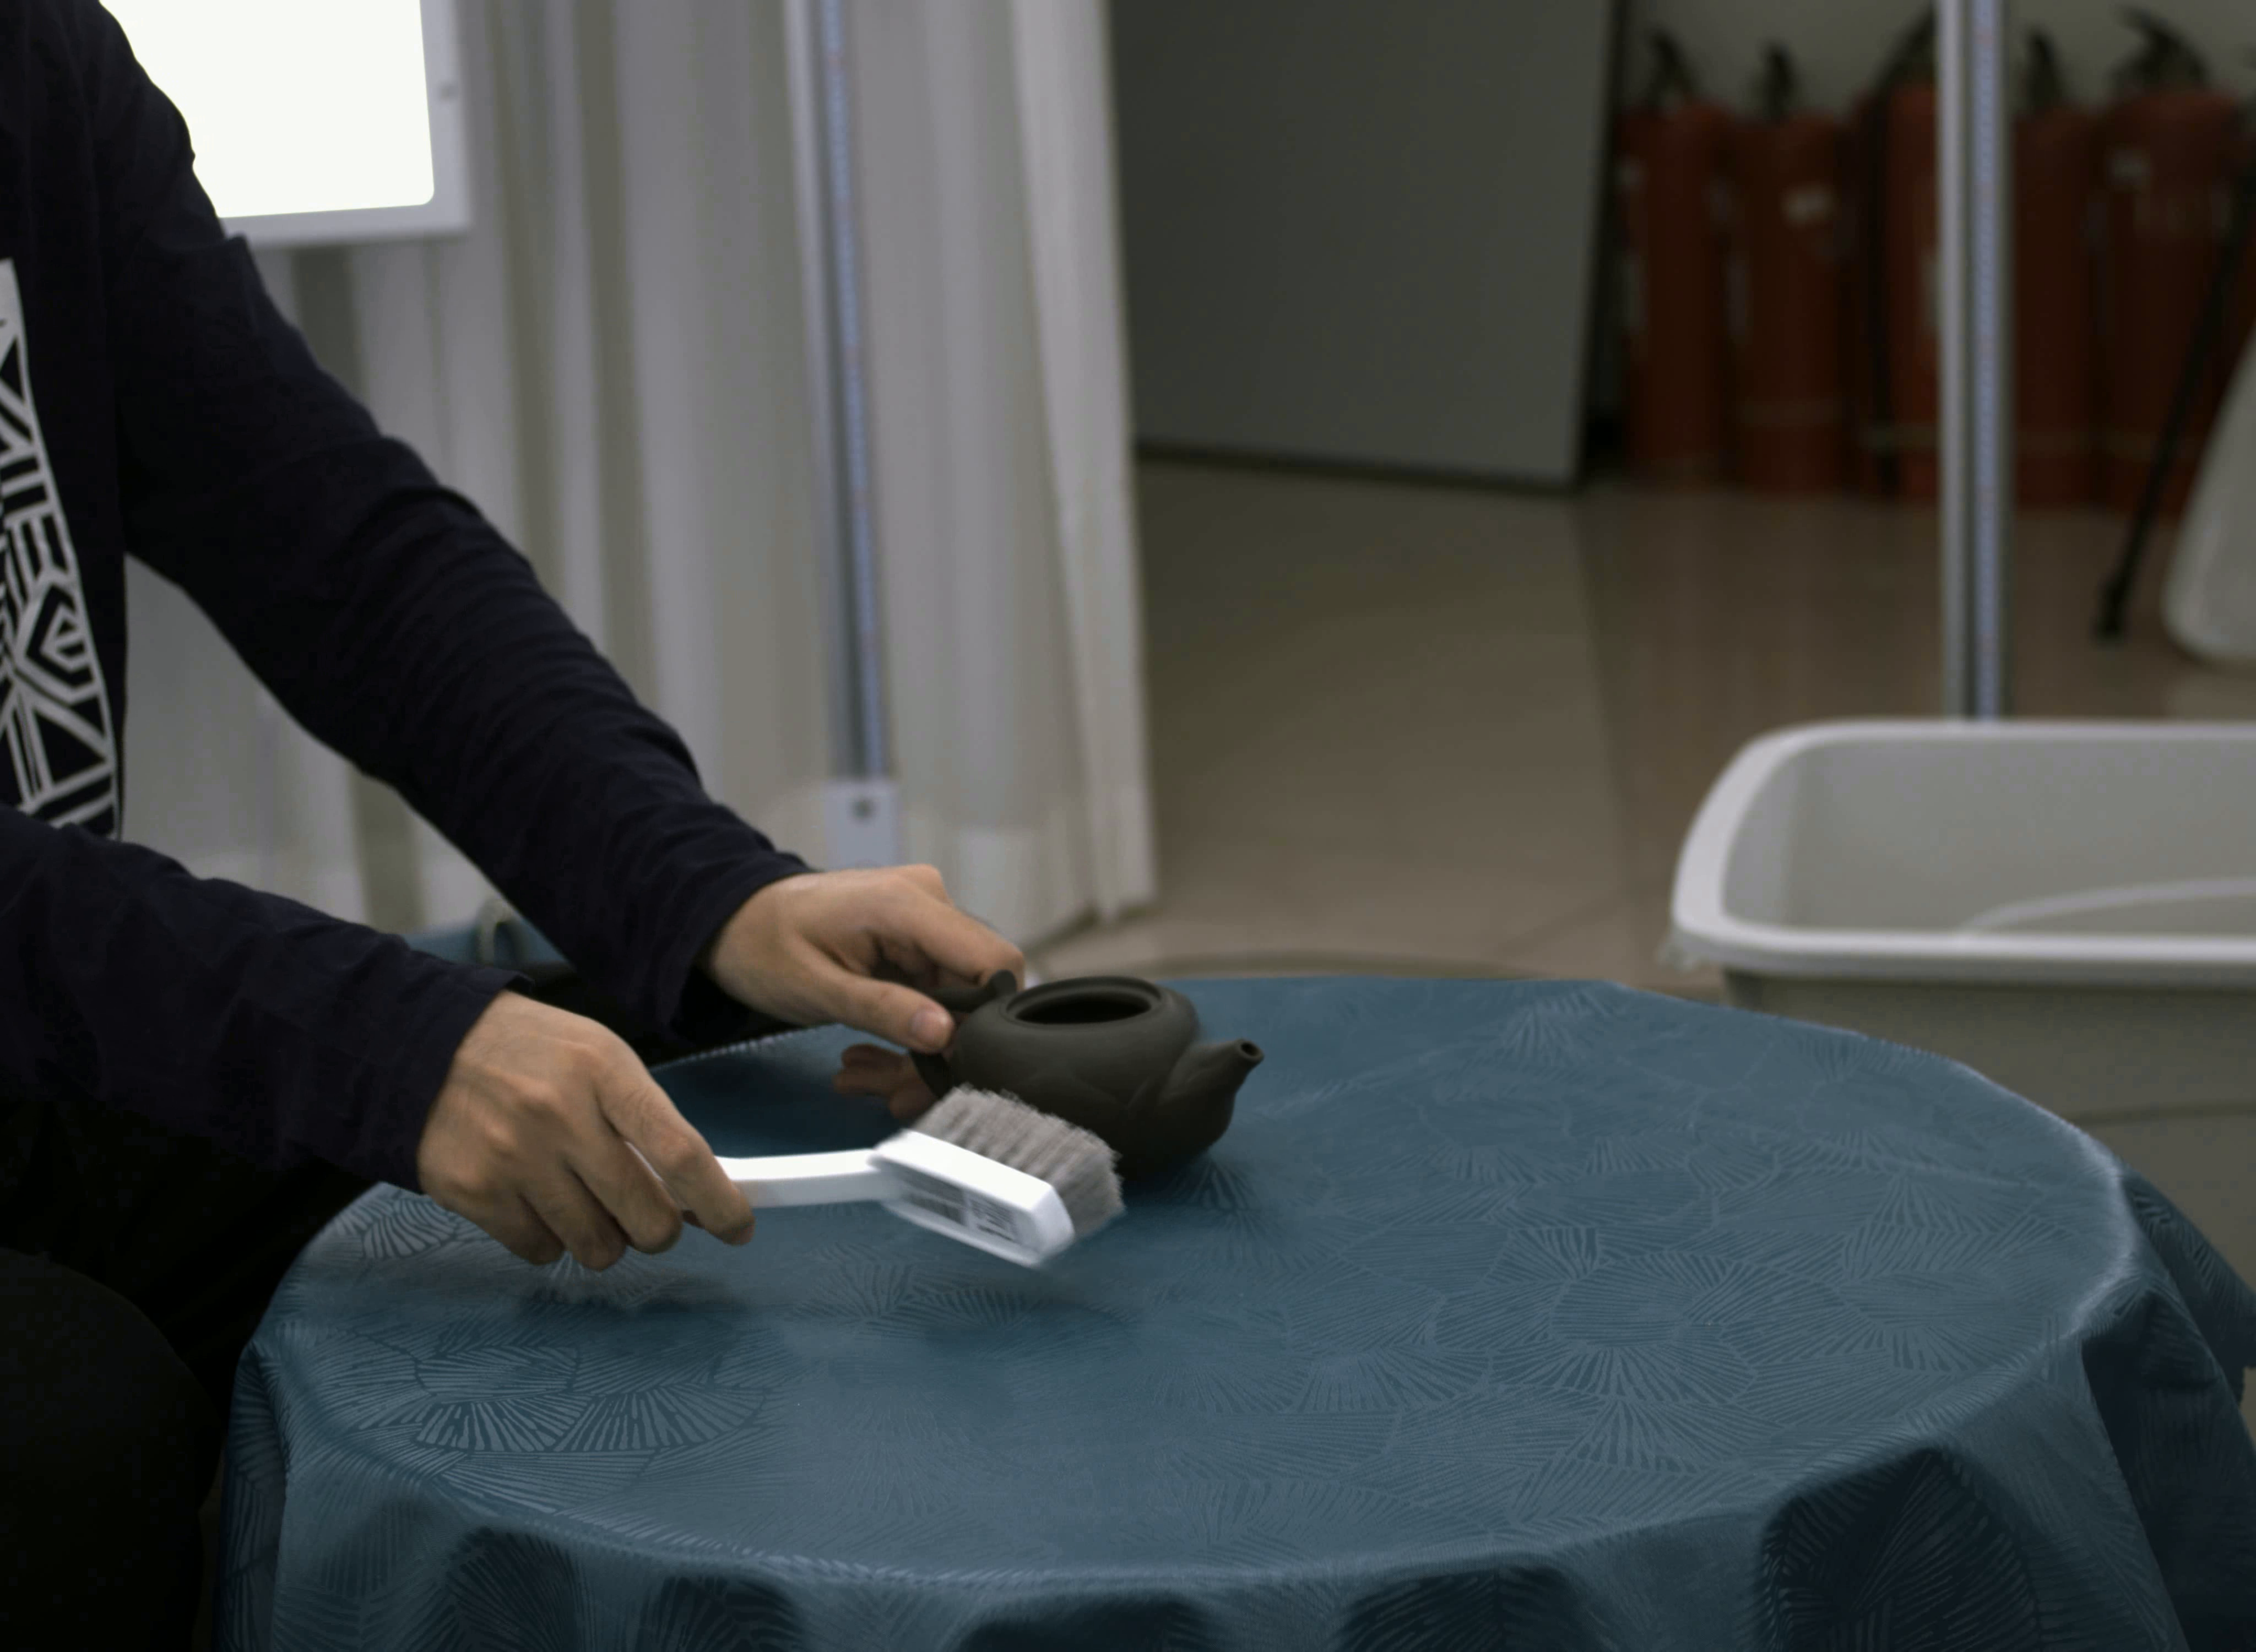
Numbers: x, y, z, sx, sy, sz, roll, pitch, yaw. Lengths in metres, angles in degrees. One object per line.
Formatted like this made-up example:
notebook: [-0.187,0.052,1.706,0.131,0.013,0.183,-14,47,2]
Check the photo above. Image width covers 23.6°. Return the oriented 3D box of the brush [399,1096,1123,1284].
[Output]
brush: [-0.117,0.106,1.705,0.244,0.034,0.050,4,50,24]

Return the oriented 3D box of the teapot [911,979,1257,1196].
teapot: [-0.015,0.086,1.798,0.155,0.065,0.090,7,19,42]
